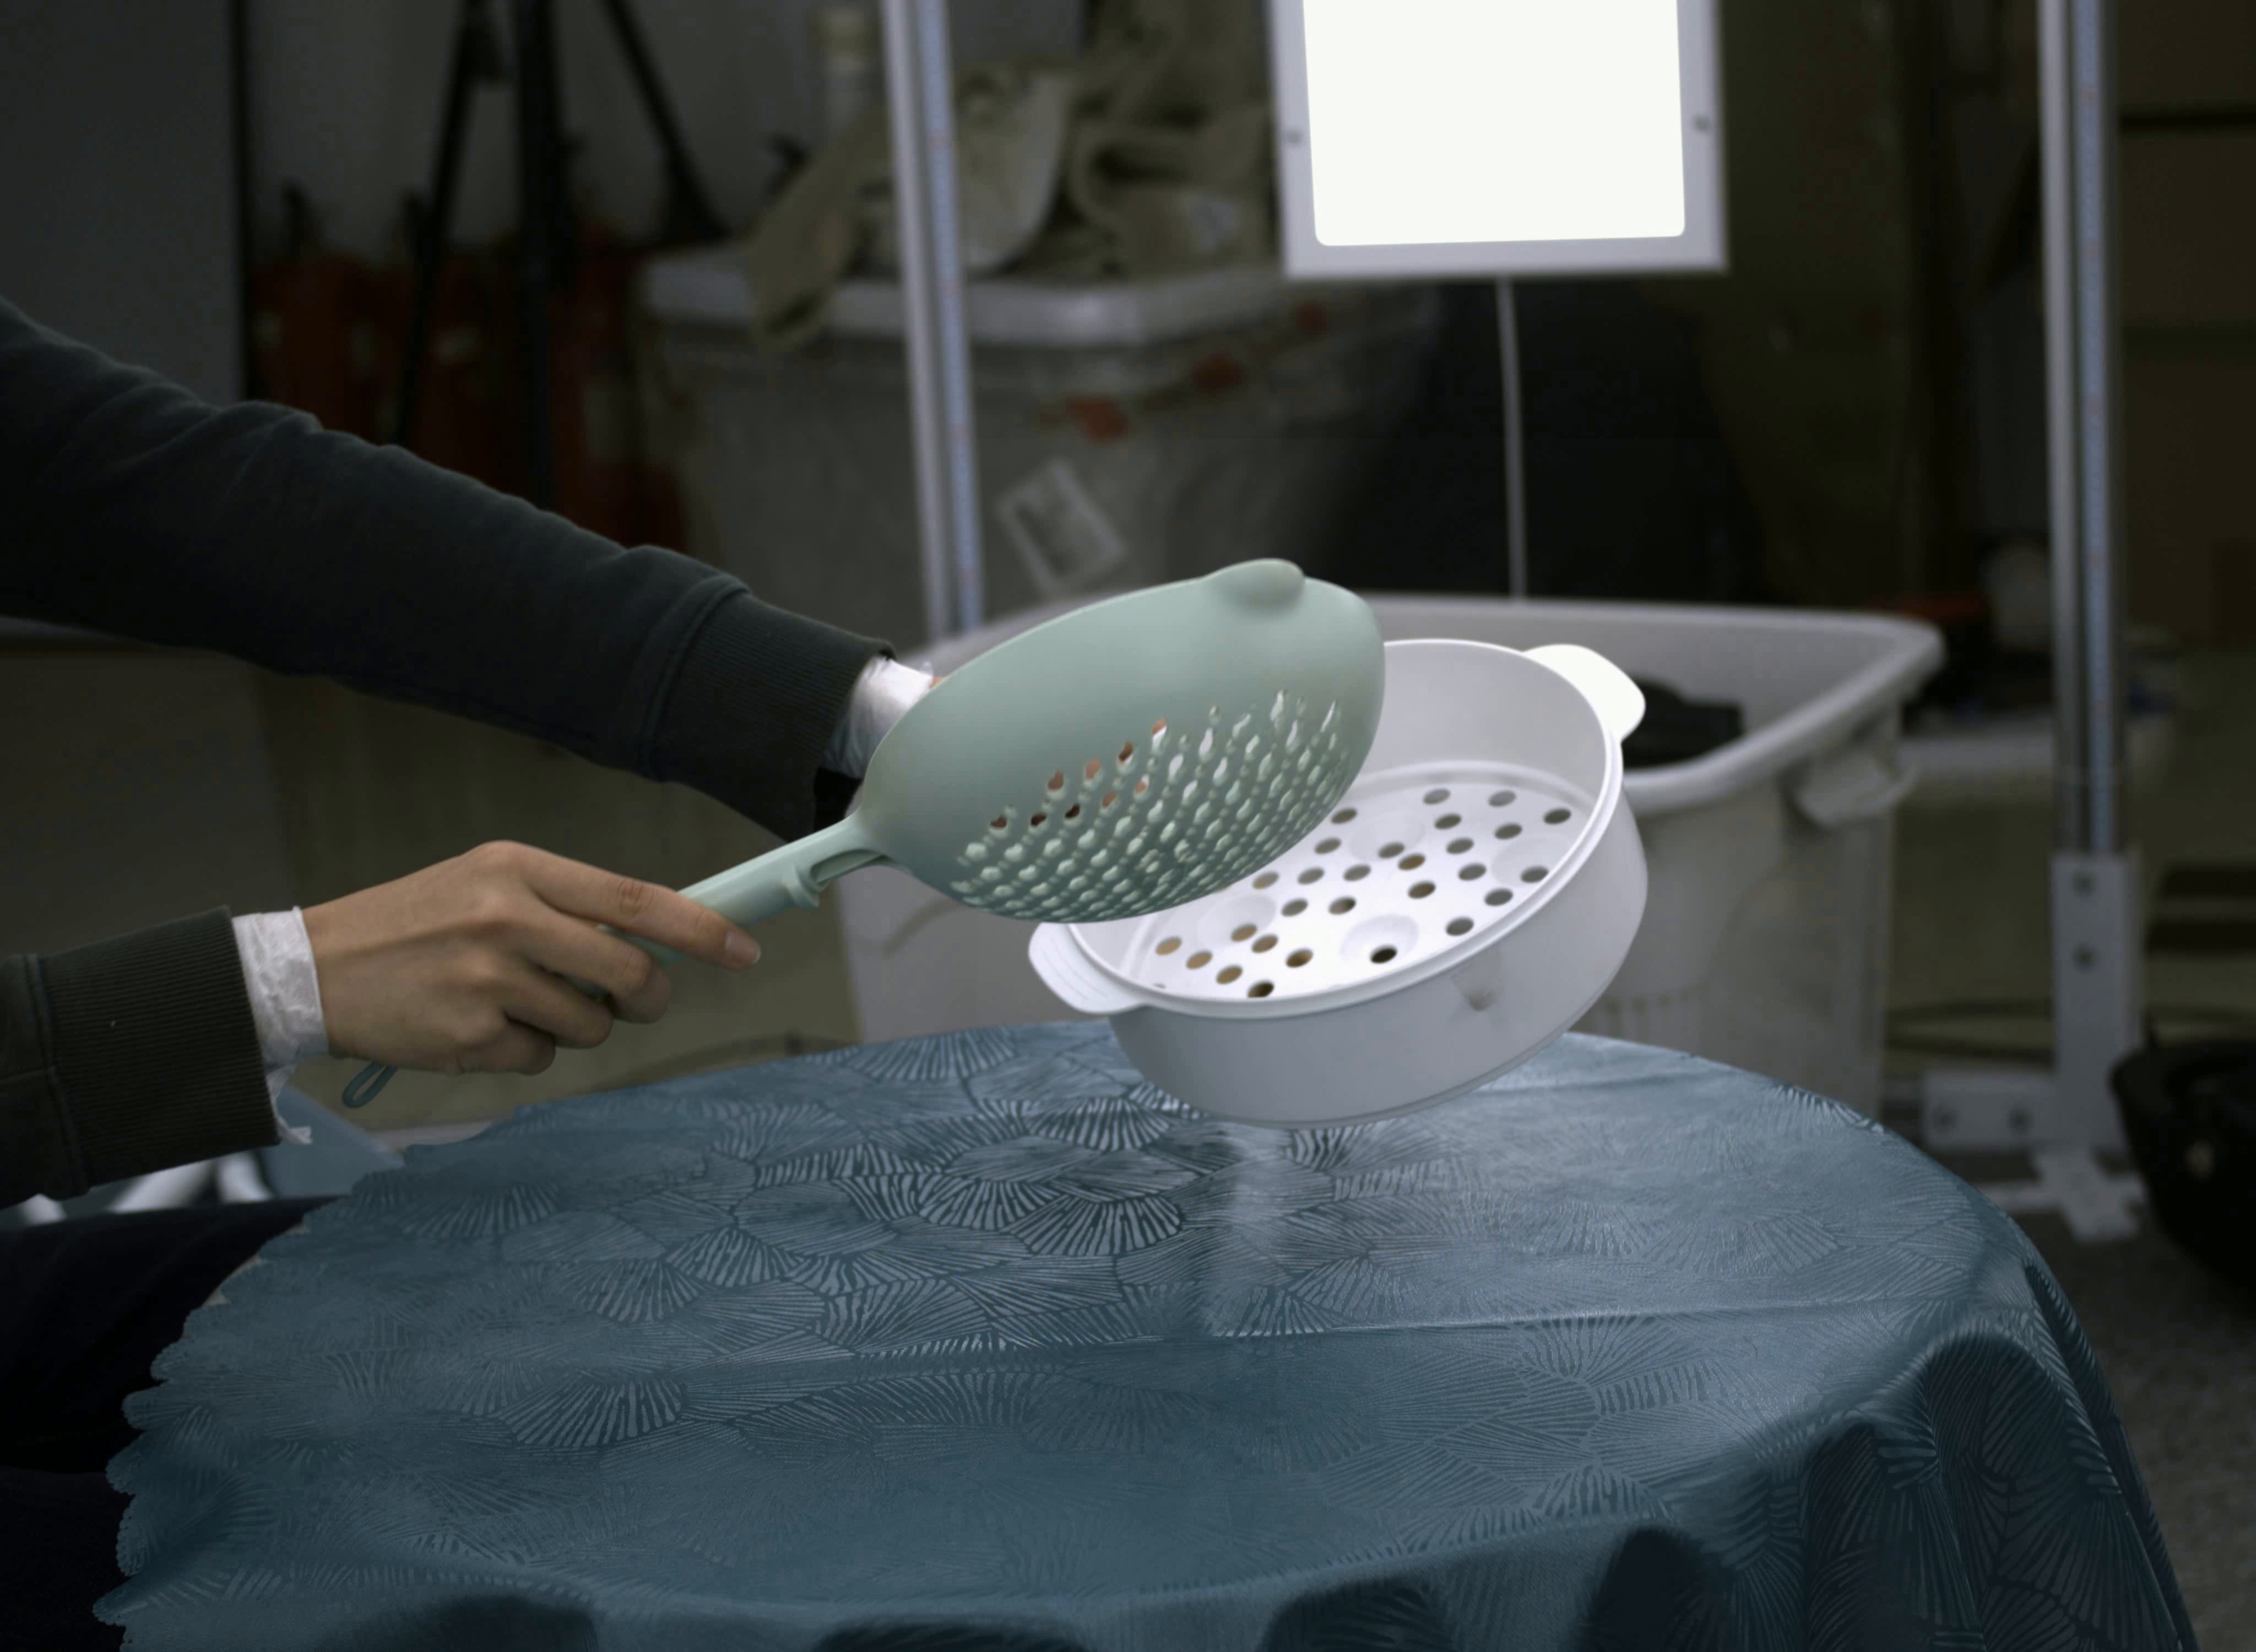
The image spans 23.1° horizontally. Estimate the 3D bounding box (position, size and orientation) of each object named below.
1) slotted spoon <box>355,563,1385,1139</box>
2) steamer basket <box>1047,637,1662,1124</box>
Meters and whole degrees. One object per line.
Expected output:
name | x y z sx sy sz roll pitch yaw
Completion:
slotted spoon | -0.085 0.016 1.735 0.362 0.075 0.167 -16 -22 13
steamer basket | 0.086 0.020 1.890 0.228 0.069 0.204 -30 33 -10
